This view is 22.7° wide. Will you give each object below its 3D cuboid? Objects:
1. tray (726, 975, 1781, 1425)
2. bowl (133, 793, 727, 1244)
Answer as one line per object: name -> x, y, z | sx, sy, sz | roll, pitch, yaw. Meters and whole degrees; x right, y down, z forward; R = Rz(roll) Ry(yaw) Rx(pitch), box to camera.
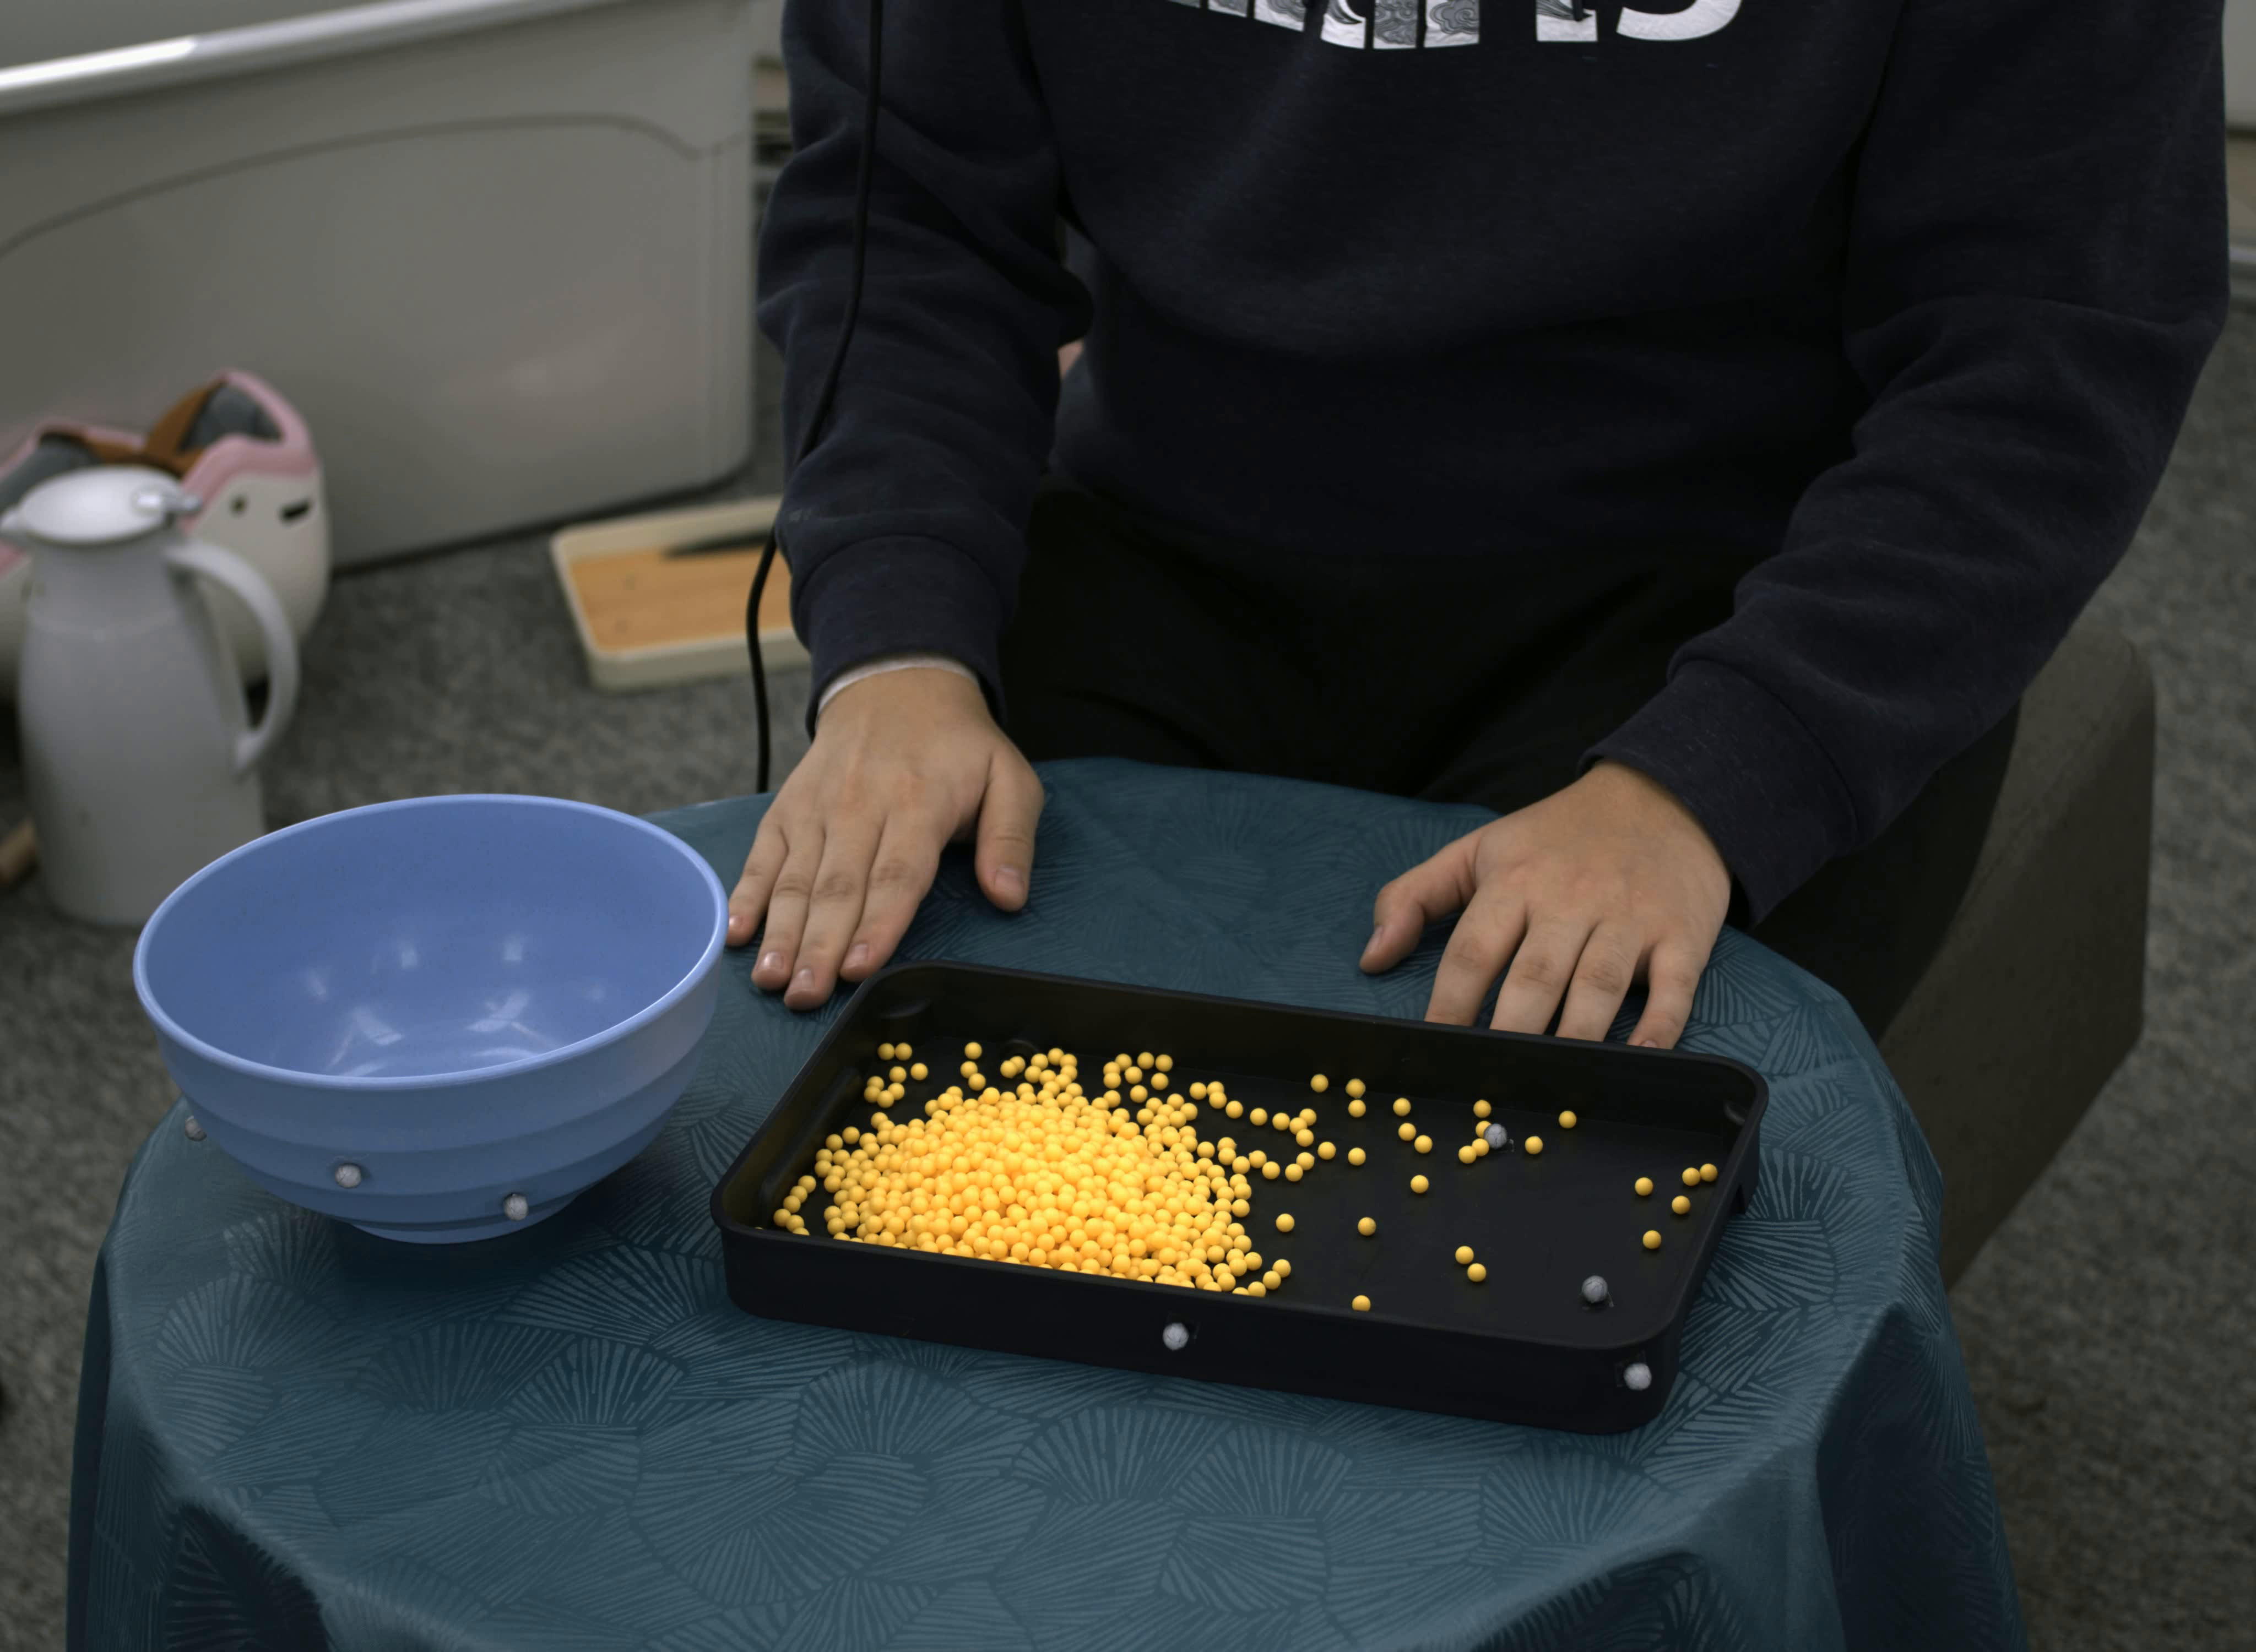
tray -> 0.043, 0.119, 1.831 | 0.316, 0.036, 0.187 | 5, 28, 16
bowl -> -0.226, 0.075, 1.871 | 0.195, 0.094, 0.199 | -3, 28, 2
